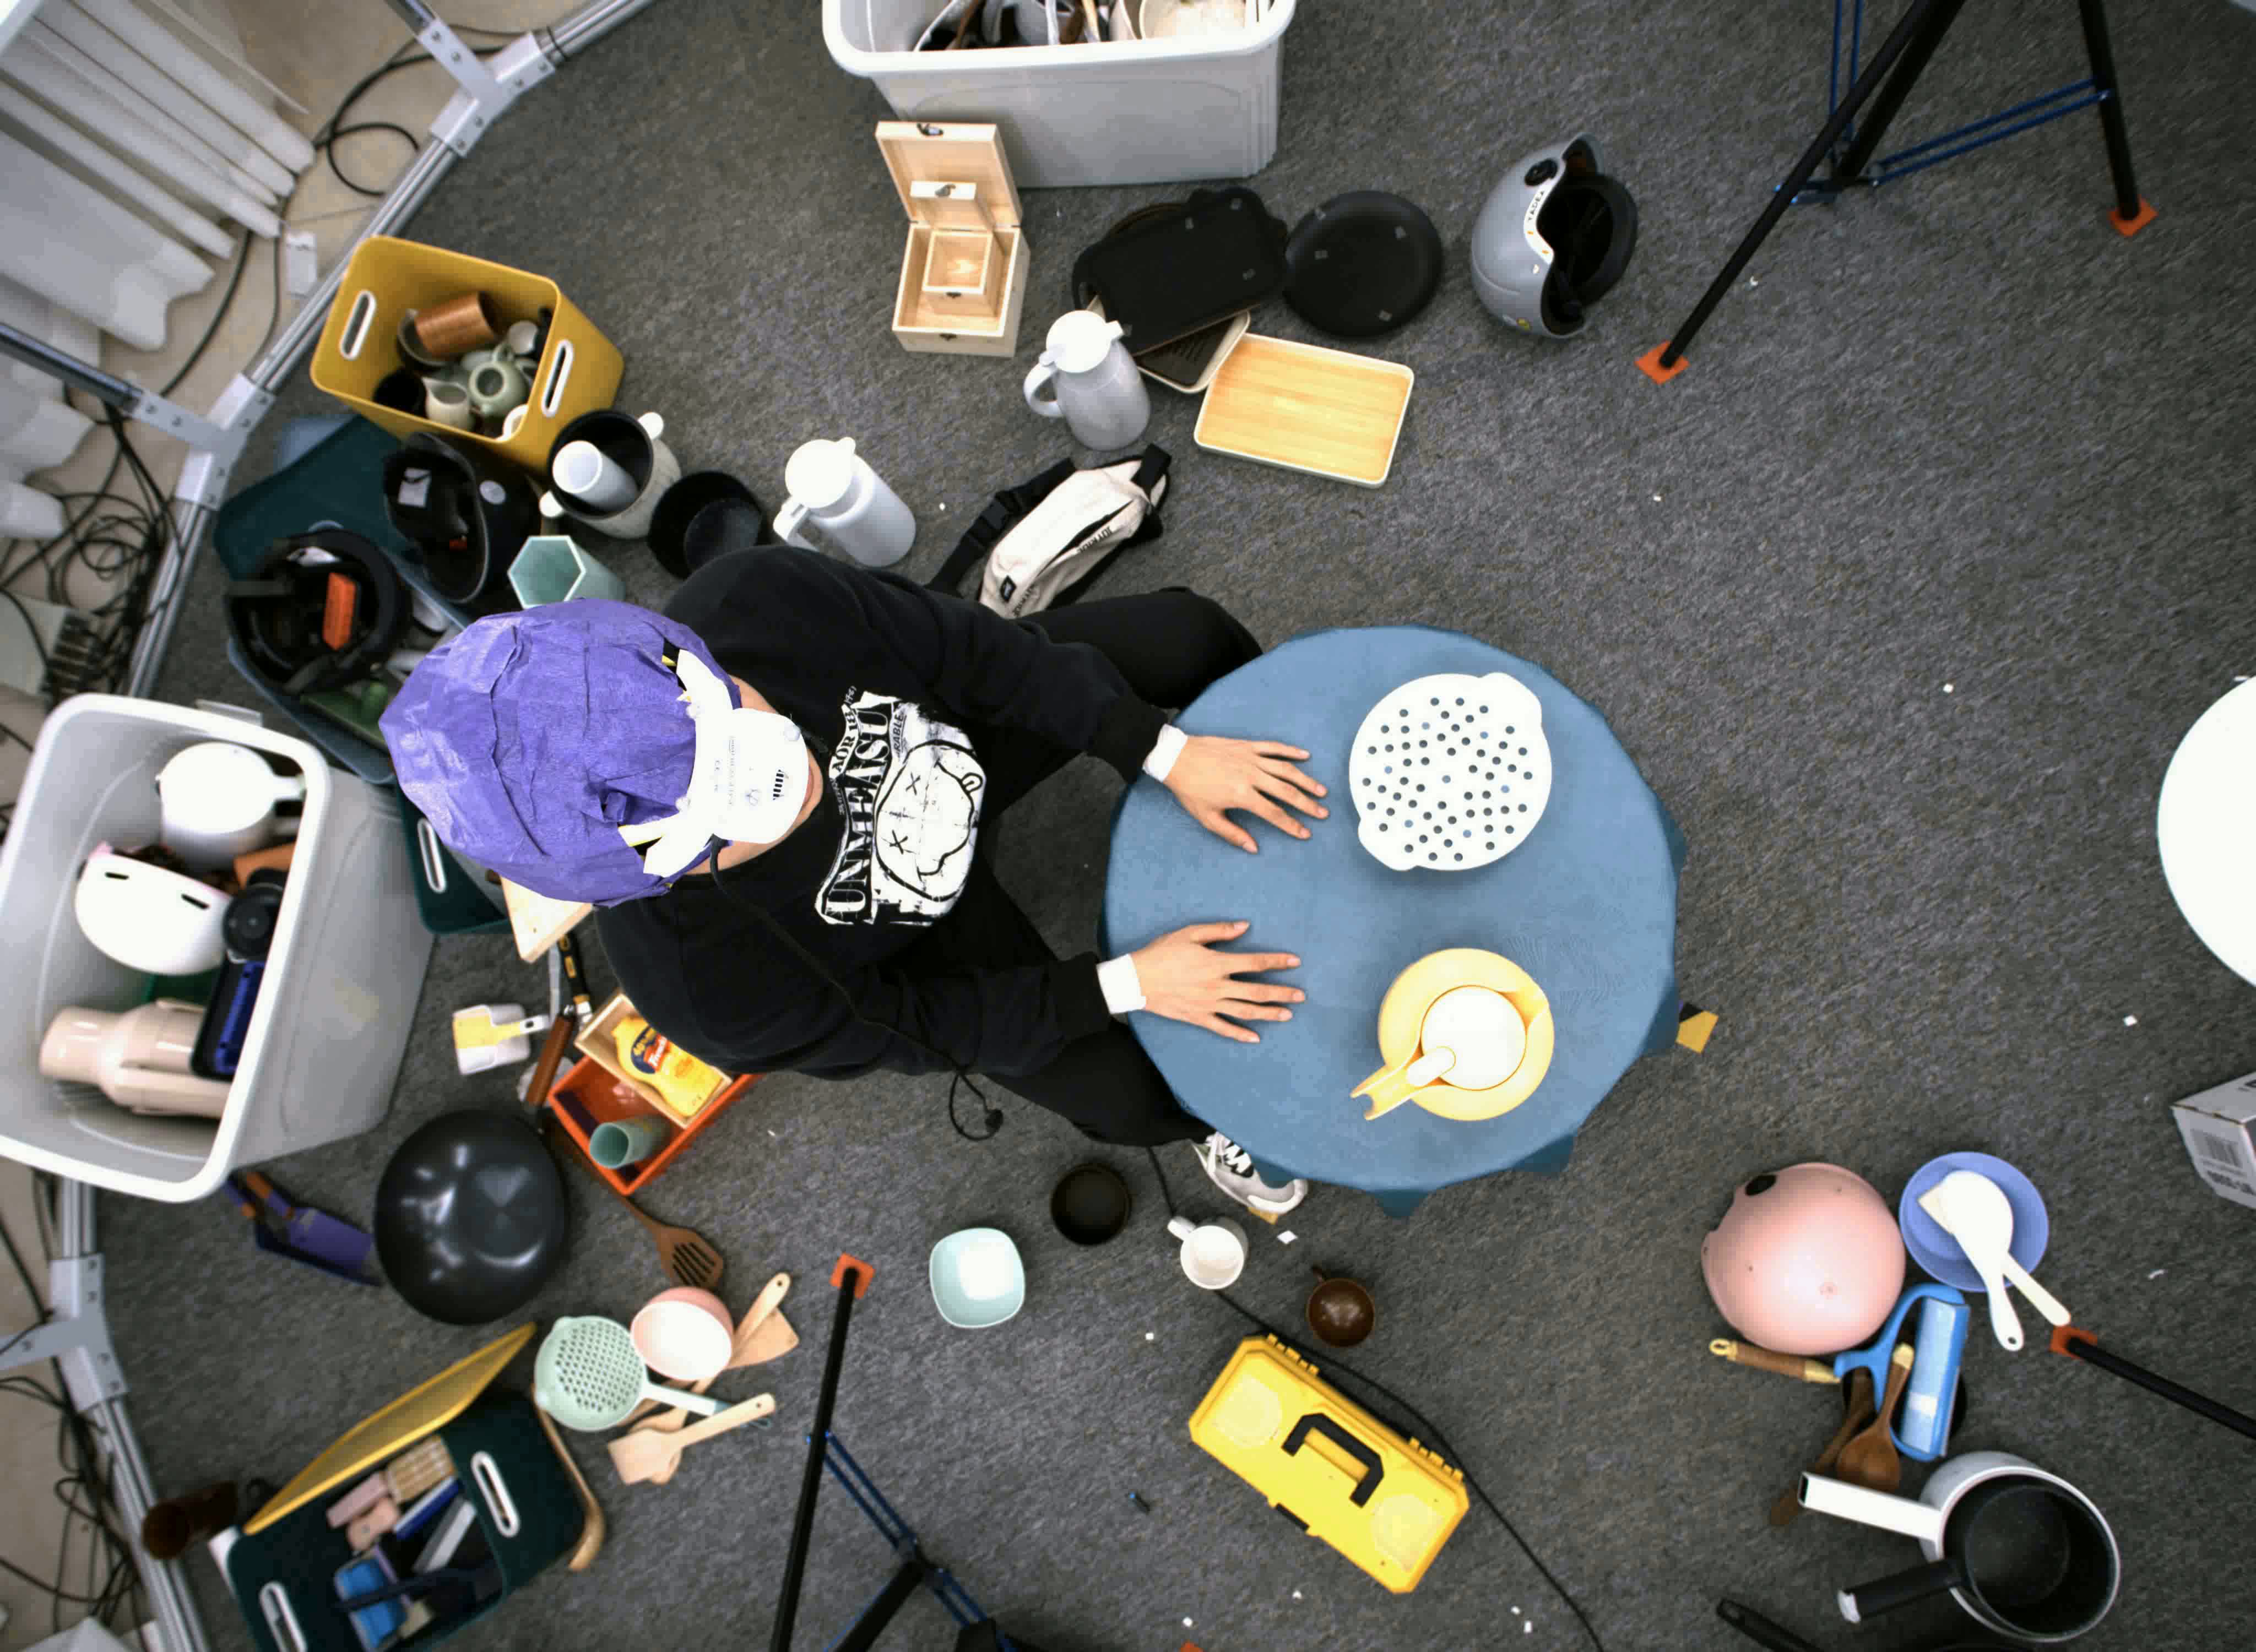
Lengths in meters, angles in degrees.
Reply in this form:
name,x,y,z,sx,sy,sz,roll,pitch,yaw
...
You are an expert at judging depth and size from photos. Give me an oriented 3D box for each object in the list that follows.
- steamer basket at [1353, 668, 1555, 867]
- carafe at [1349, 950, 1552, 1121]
name,x,y,z,sx,sy,sz,roll,pitch,yaw
steamer basket,0.334,-0.058,1.420,0.201,0.069,0.231,40,92,11
carafe,0.302,0.206,1.315,0.203,0.261,0.162,-31,78,5
